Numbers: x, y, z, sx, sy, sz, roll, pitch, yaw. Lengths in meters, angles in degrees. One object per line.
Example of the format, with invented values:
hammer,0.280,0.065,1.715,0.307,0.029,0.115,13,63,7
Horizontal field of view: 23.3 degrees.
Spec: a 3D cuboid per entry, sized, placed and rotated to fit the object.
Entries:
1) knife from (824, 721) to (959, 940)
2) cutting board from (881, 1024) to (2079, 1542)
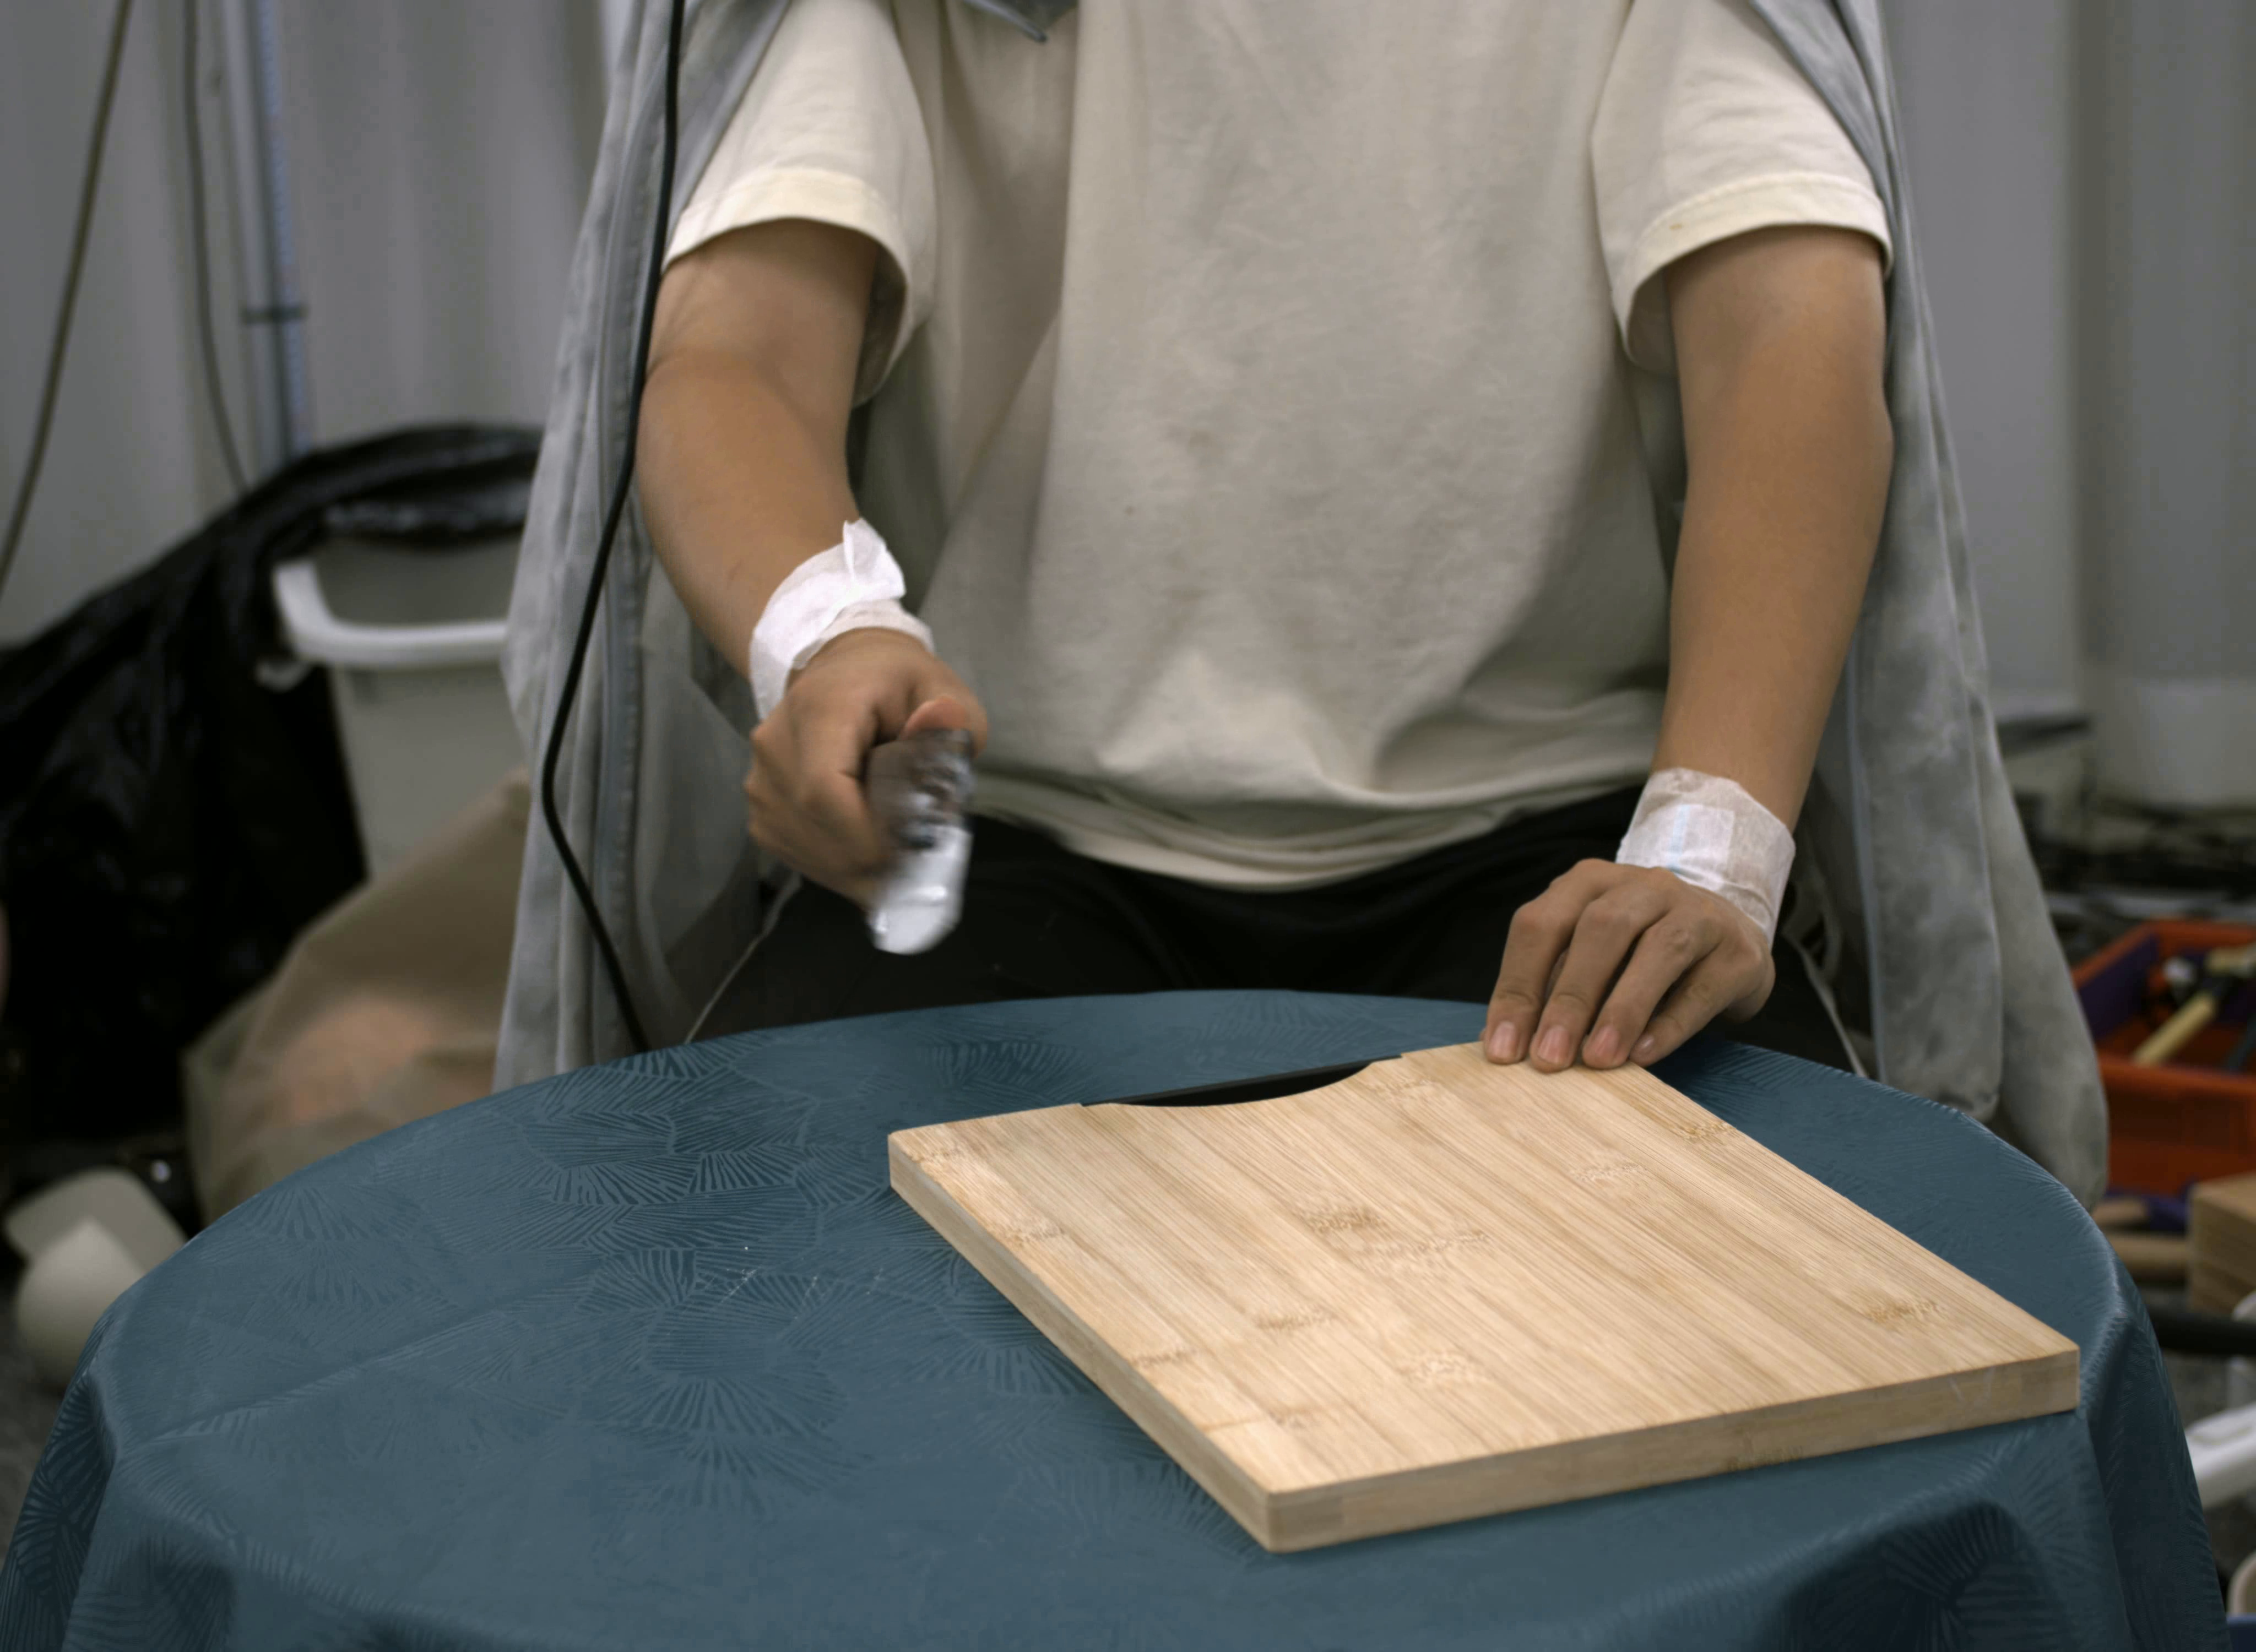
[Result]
knife,-0.072,0.002,1.665,0.024,0.068,0.300,16,-2,-8
cutting board,0.091,0.128,1.620,0.249,0.023,0.351,-8,15,-19
